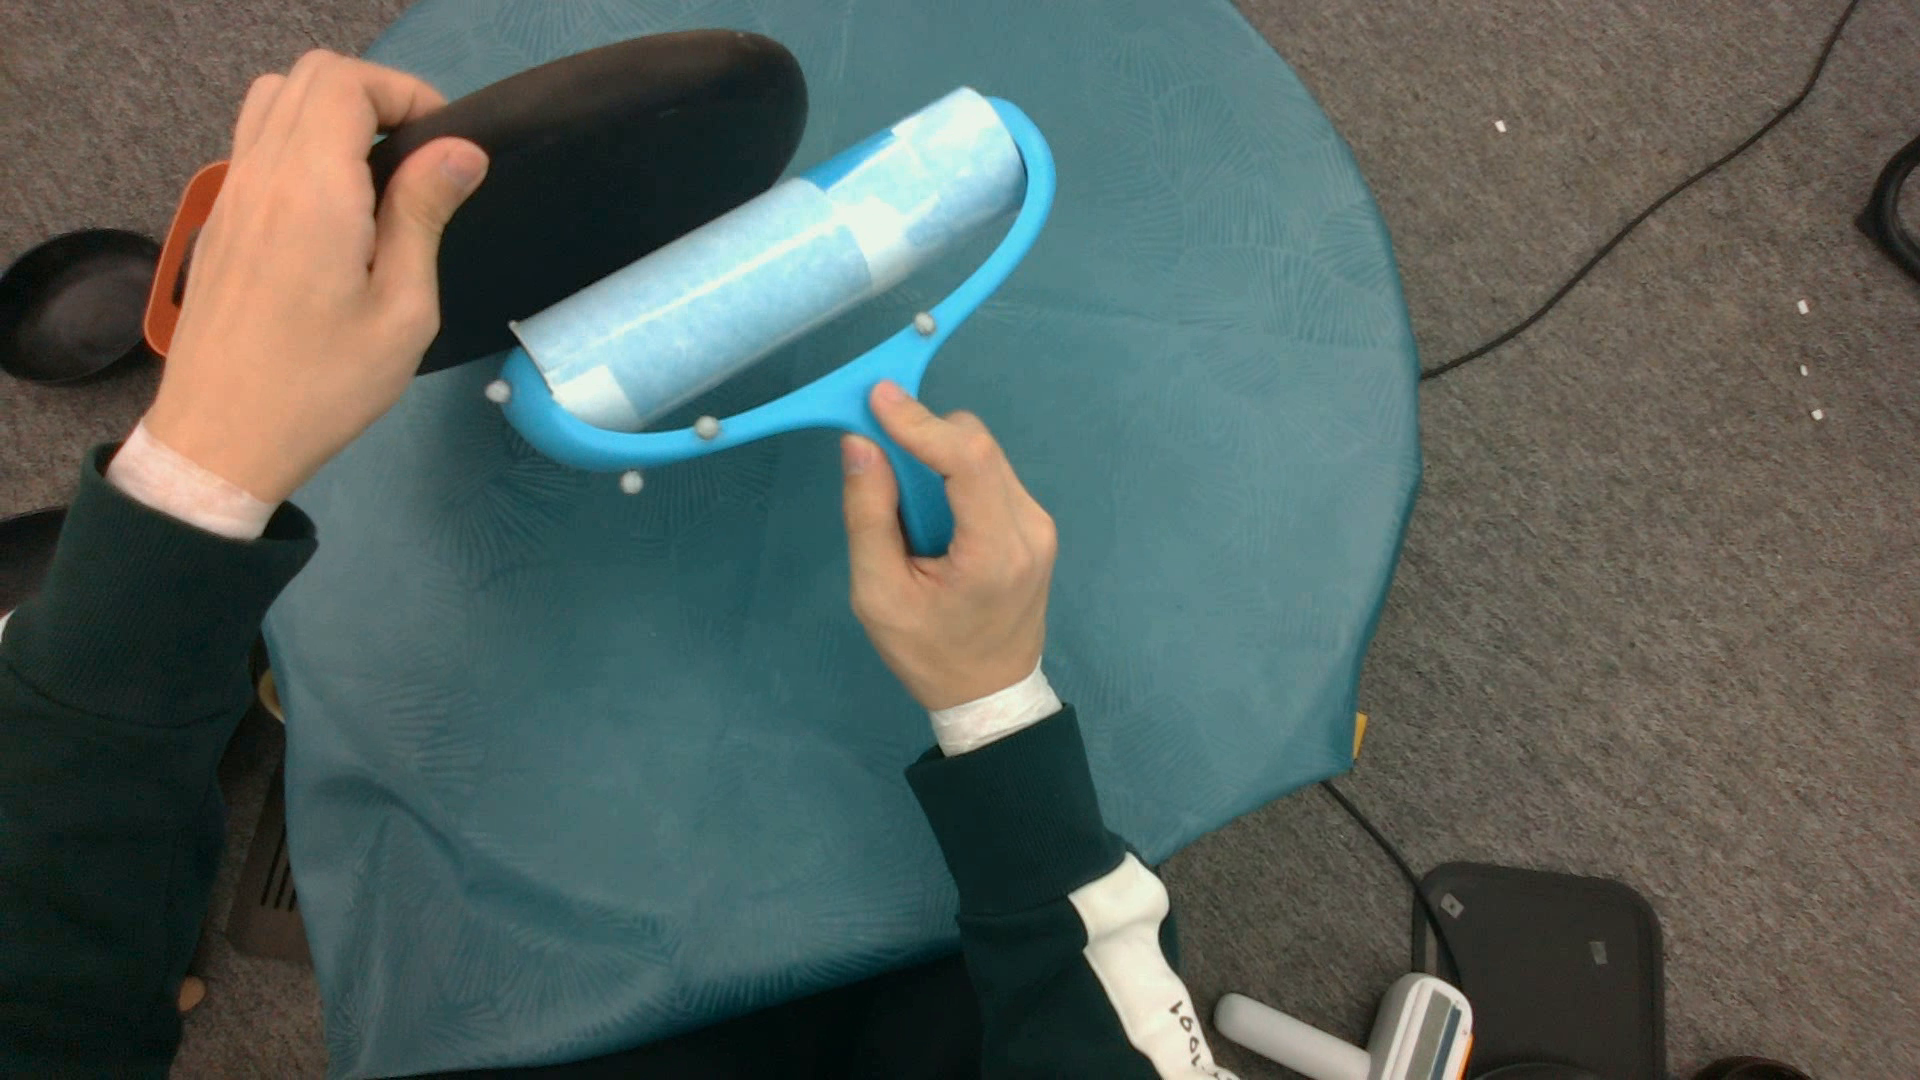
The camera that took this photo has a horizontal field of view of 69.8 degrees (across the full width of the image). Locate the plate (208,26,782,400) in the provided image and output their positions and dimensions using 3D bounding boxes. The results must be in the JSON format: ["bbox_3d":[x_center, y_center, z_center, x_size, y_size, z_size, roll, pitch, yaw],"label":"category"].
[{"bbox_3d":[-0.182,-0.129,0.572,0.255,0.254,0.029,-32,91,-11],"label":"plate"}]

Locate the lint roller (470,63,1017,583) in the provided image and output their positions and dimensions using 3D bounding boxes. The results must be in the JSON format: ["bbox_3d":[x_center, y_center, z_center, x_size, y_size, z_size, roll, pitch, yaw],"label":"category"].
[{"bbox_3d":[-0.046,-0.060,0.528,0.229,0.068,0.180,-37,99,-13],"label":"lint roller"}]
